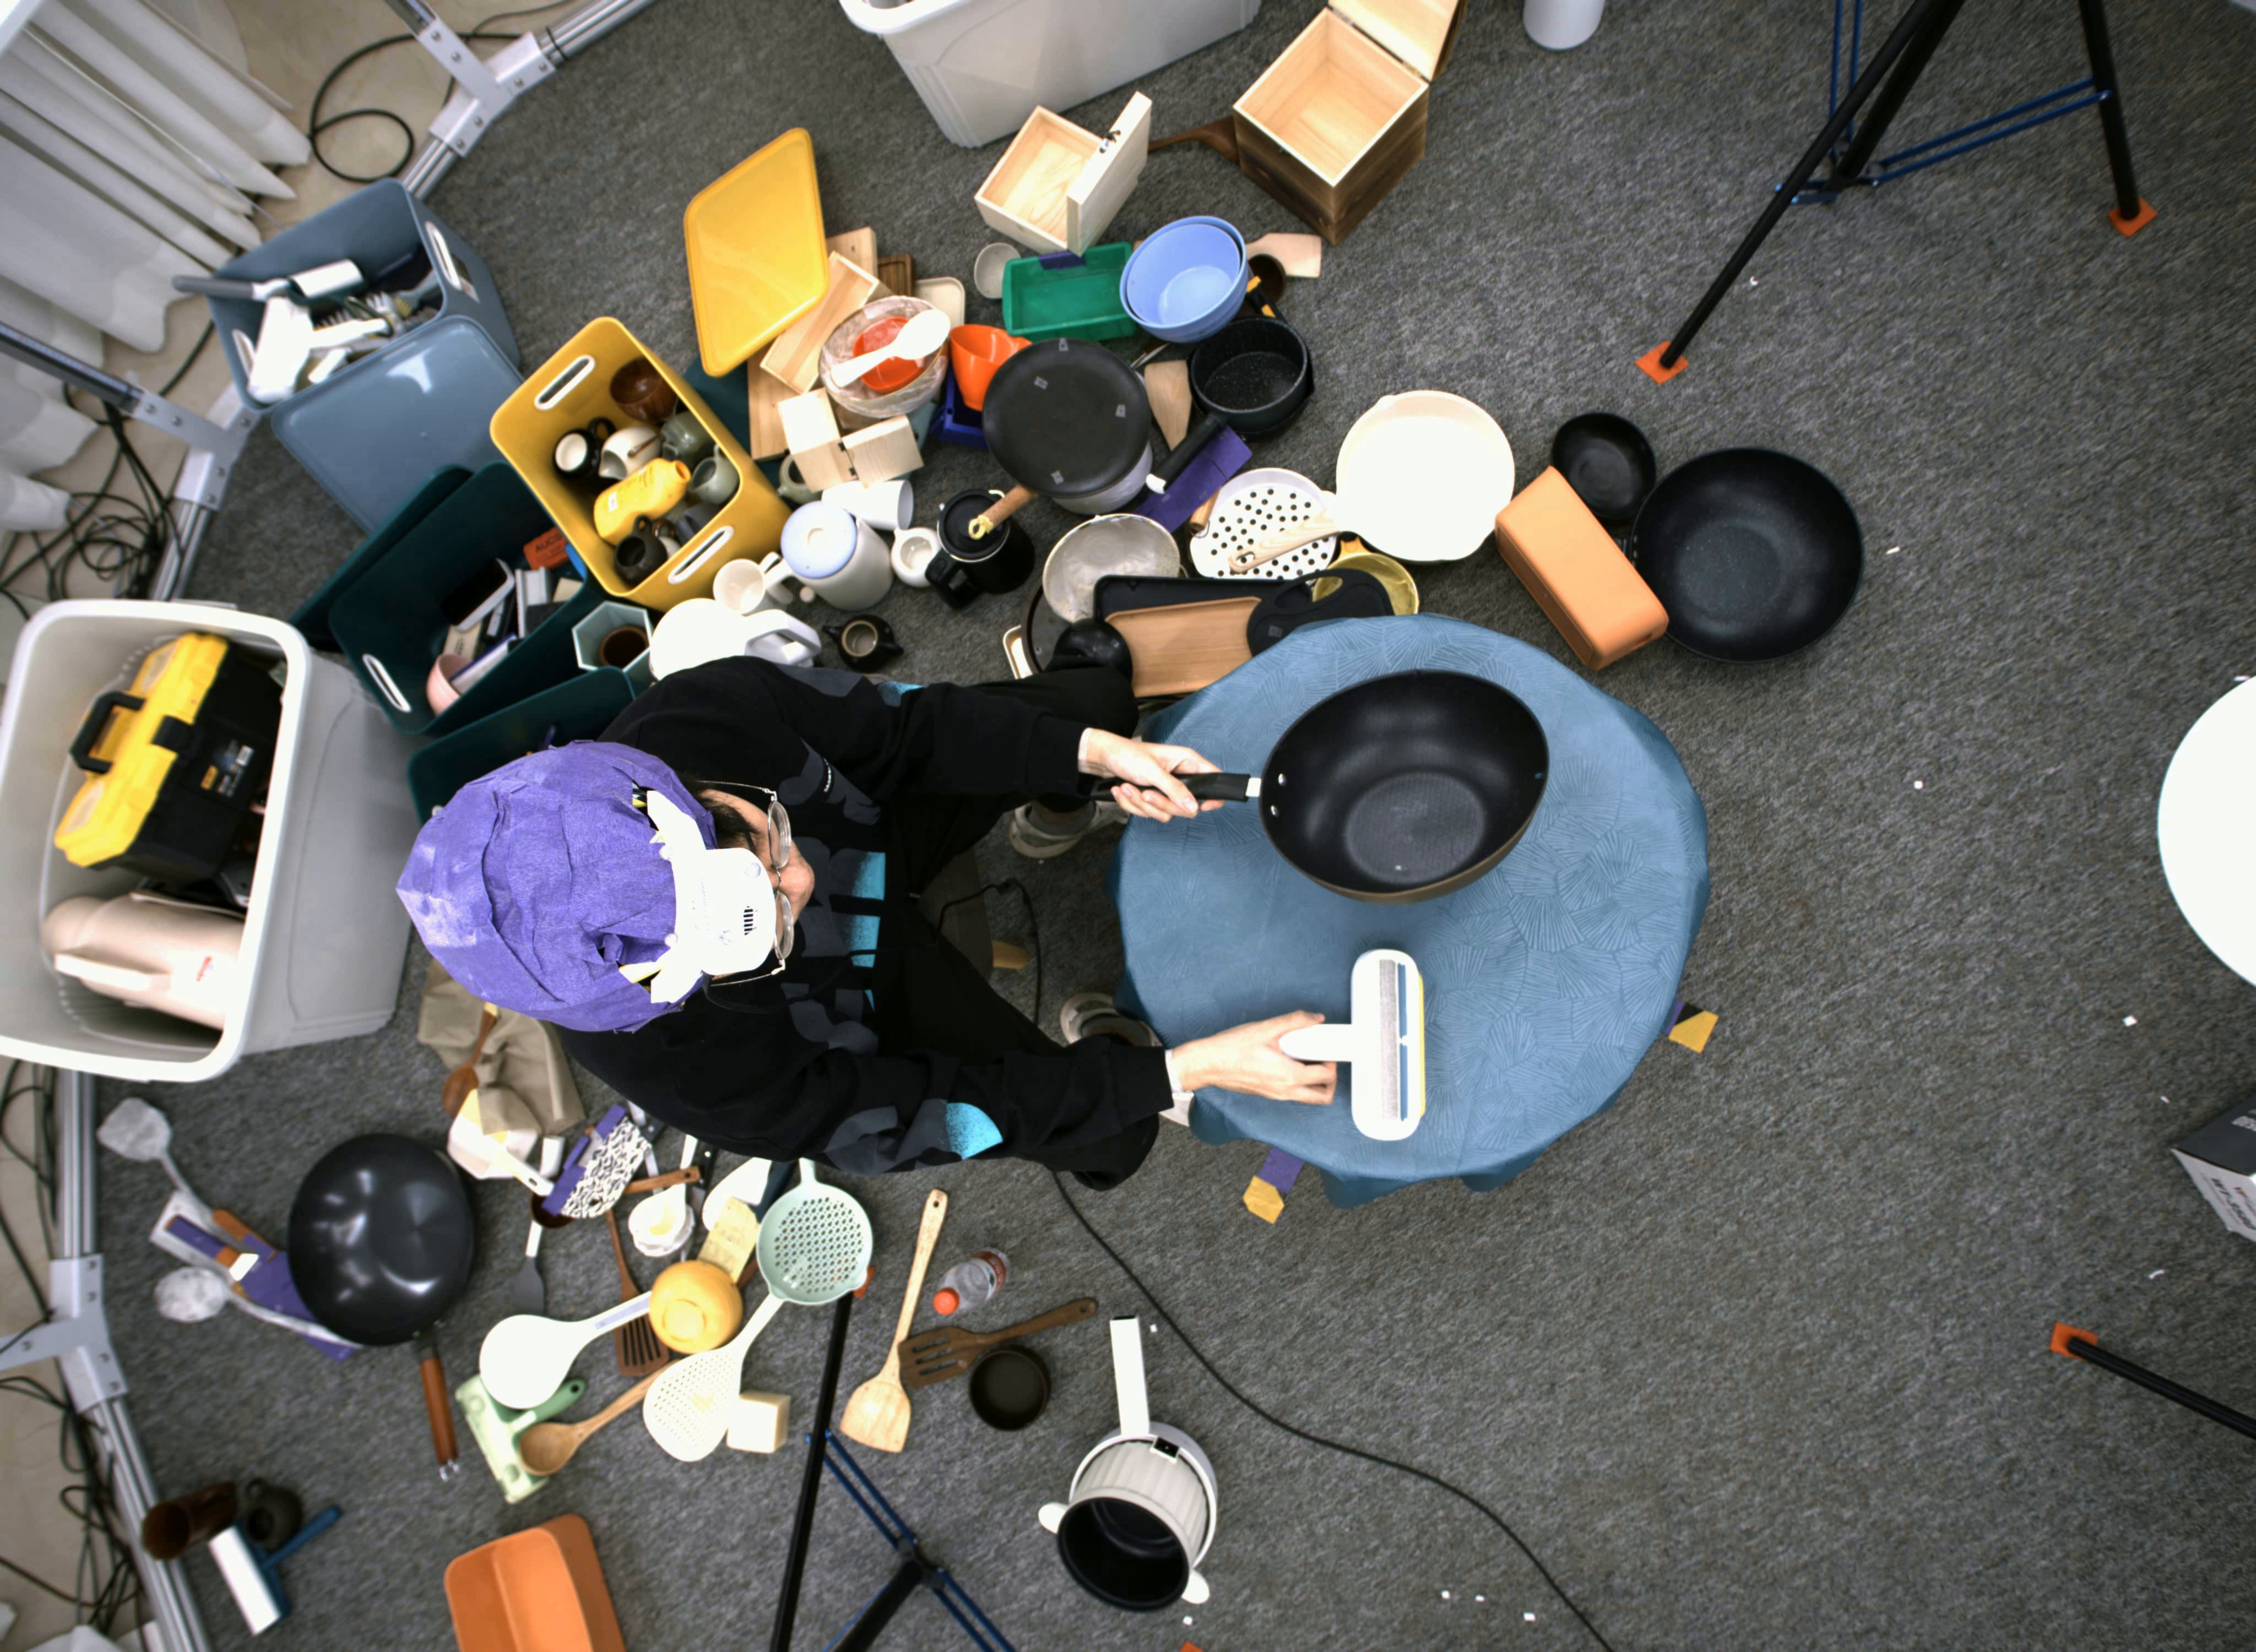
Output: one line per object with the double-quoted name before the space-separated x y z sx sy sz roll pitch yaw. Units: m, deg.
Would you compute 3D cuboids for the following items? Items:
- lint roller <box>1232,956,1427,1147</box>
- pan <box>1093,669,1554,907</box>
"lint roller" 0.203 0.222 1.415 0.193 0.075 0.191 6 80 4
"pan" 0.187 -0.024 1.368 0.466 0.088 0.281 -2 52 24
